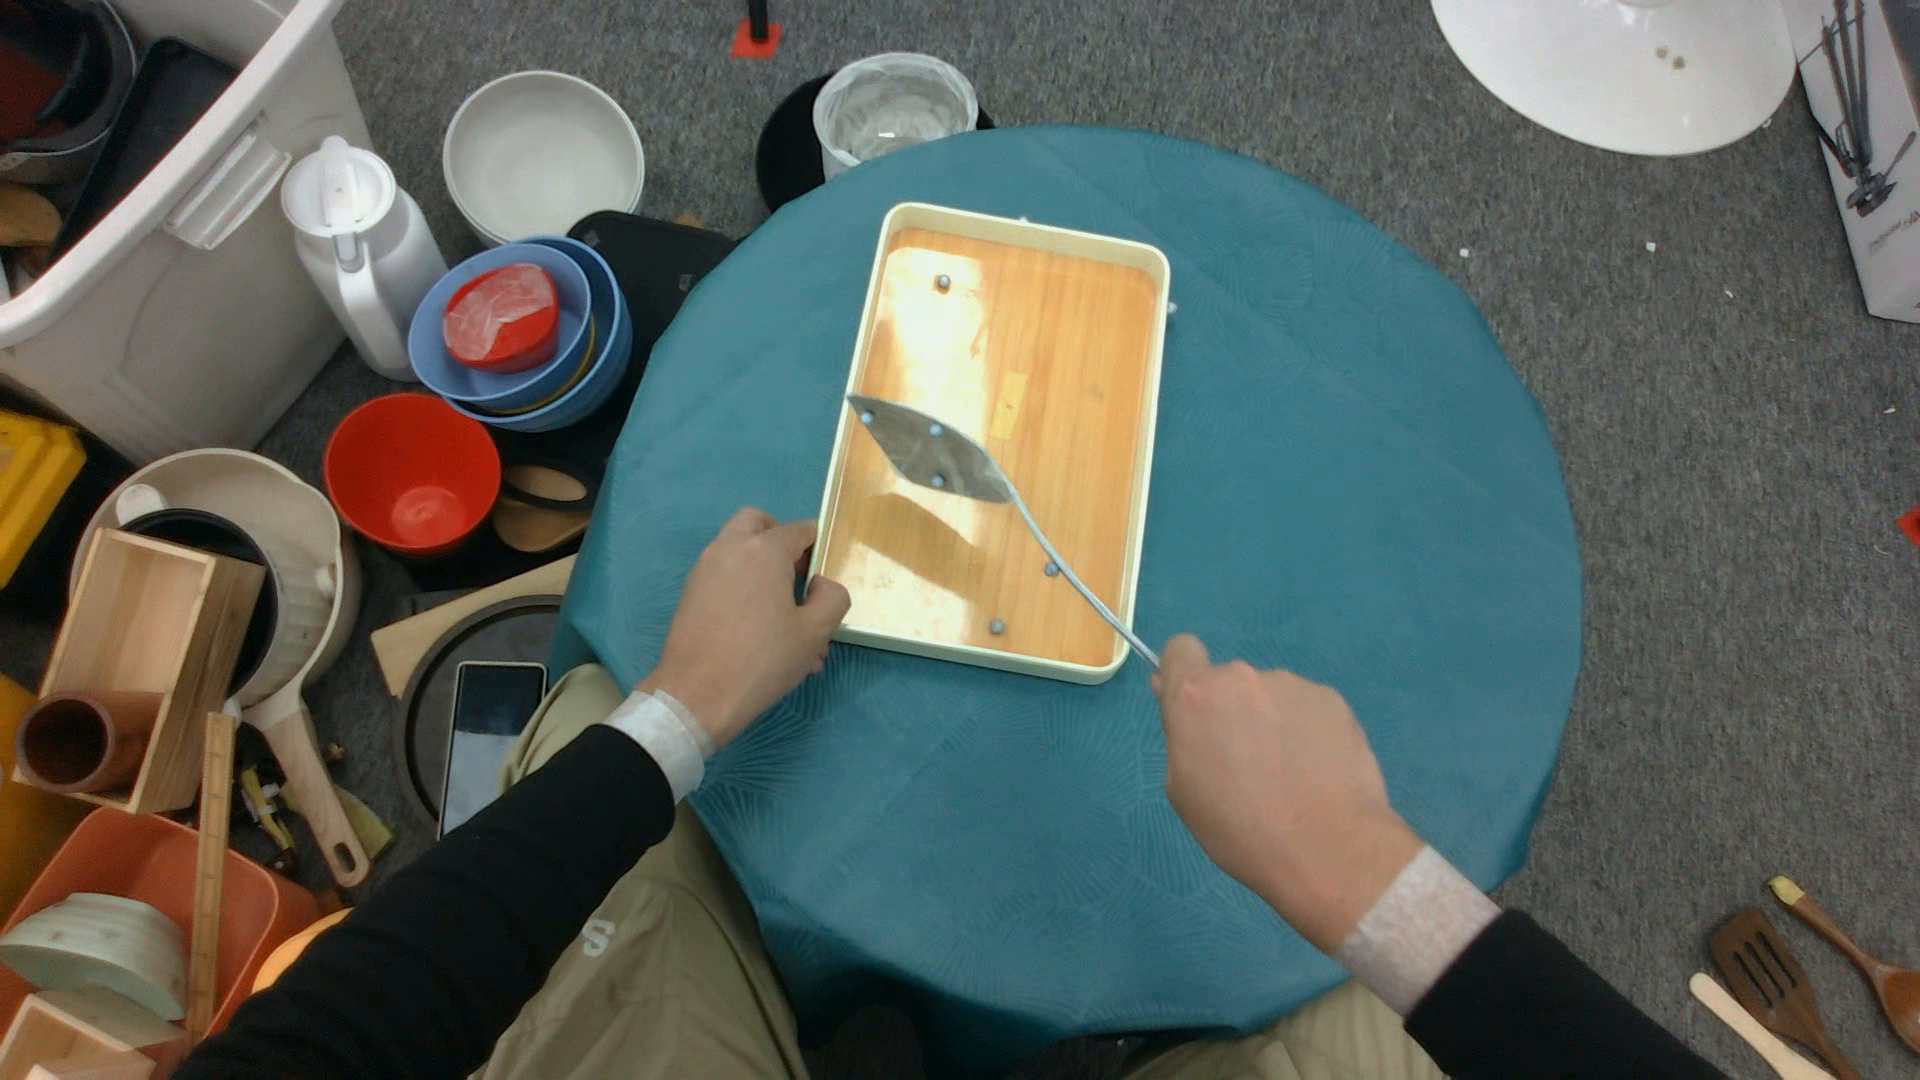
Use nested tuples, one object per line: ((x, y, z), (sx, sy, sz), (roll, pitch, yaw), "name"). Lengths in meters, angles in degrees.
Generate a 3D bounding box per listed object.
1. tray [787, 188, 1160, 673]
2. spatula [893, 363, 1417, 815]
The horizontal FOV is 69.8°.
((0.015, -0.075, 0.846), (0.191, 0.027, 0.301), (11, 66, -1), "tray")
((0.082, 0.017, 0.696), (0.045, 0.098, 0.365), (-36, 53, -6), "spatula")
